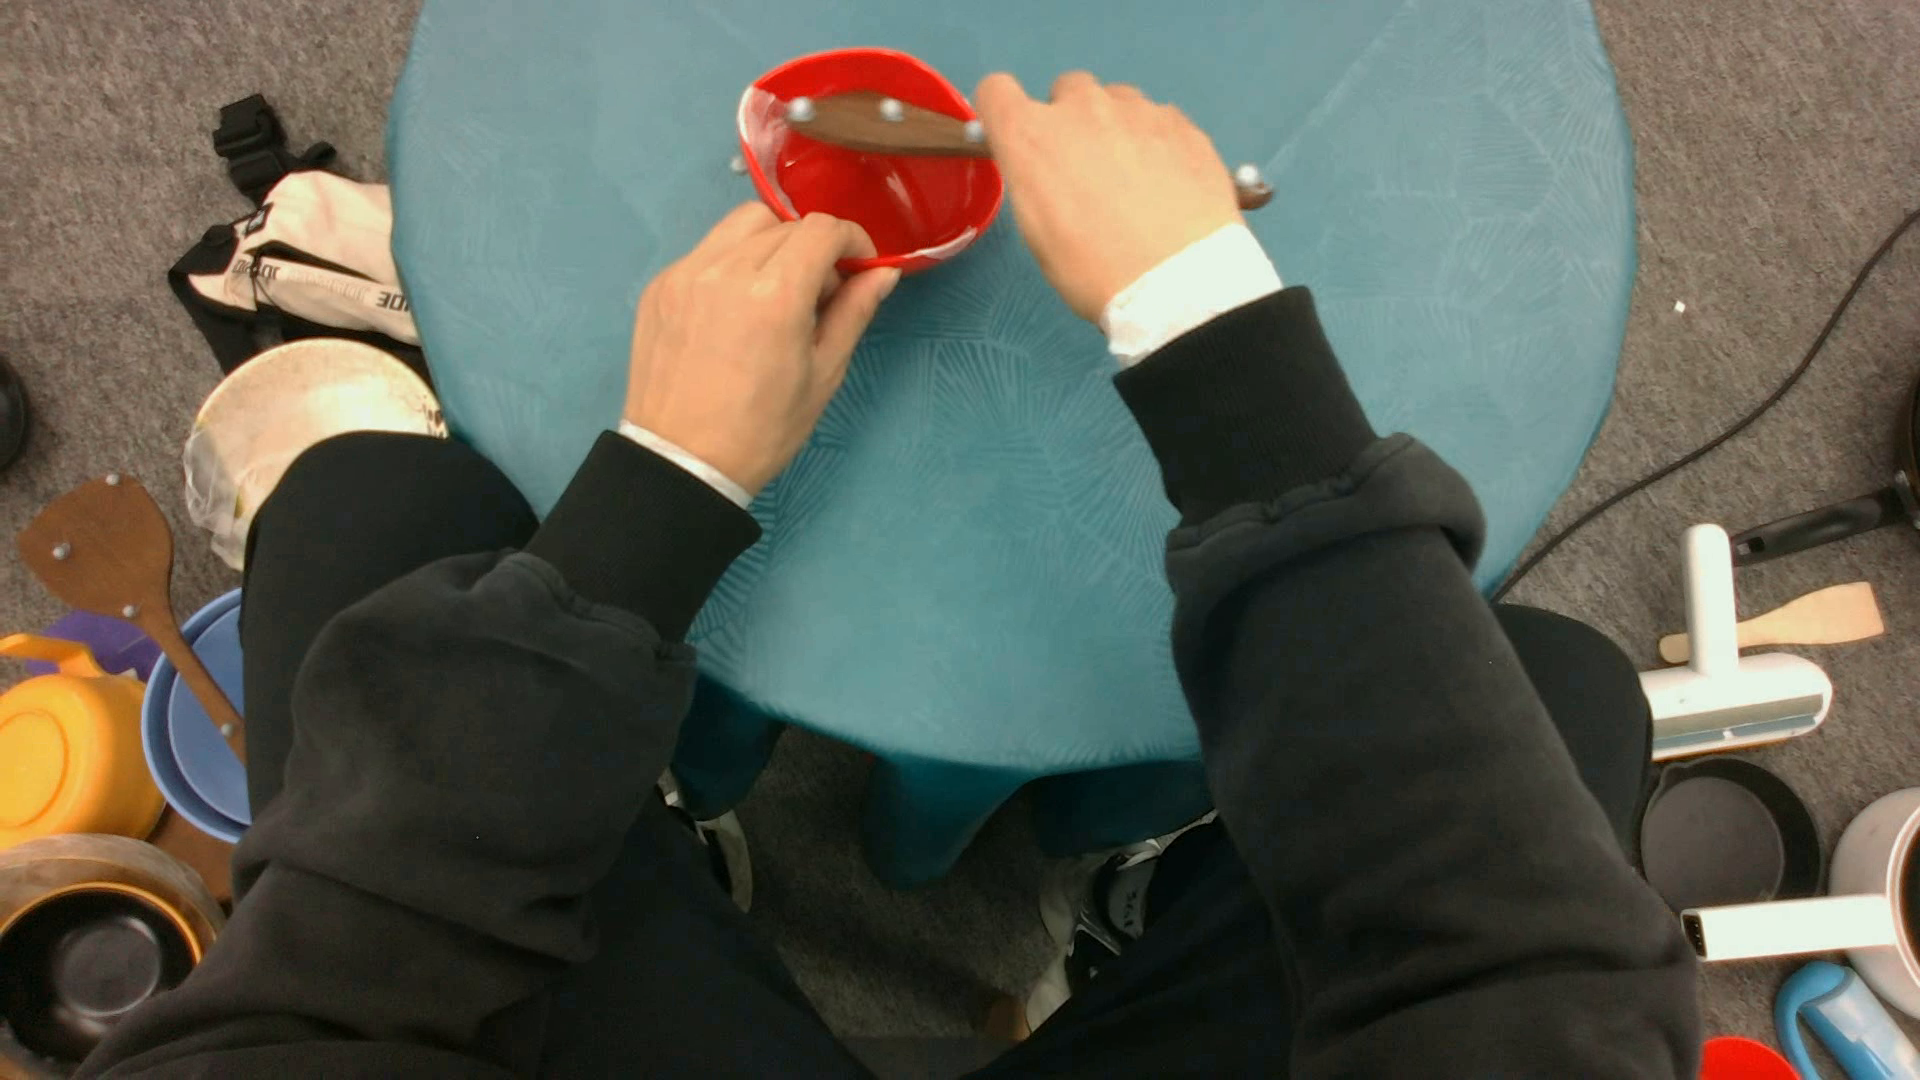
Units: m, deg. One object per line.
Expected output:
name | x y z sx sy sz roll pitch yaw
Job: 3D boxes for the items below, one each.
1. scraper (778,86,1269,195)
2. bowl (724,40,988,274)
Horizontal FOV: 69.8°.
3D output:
scraper | 0.025 -0.165 0.571 0.211 0.076 0.011 18 120 24
bowl | -0.051 -0.163 0.618 0.119 0.051 0.119 8 63 -16
